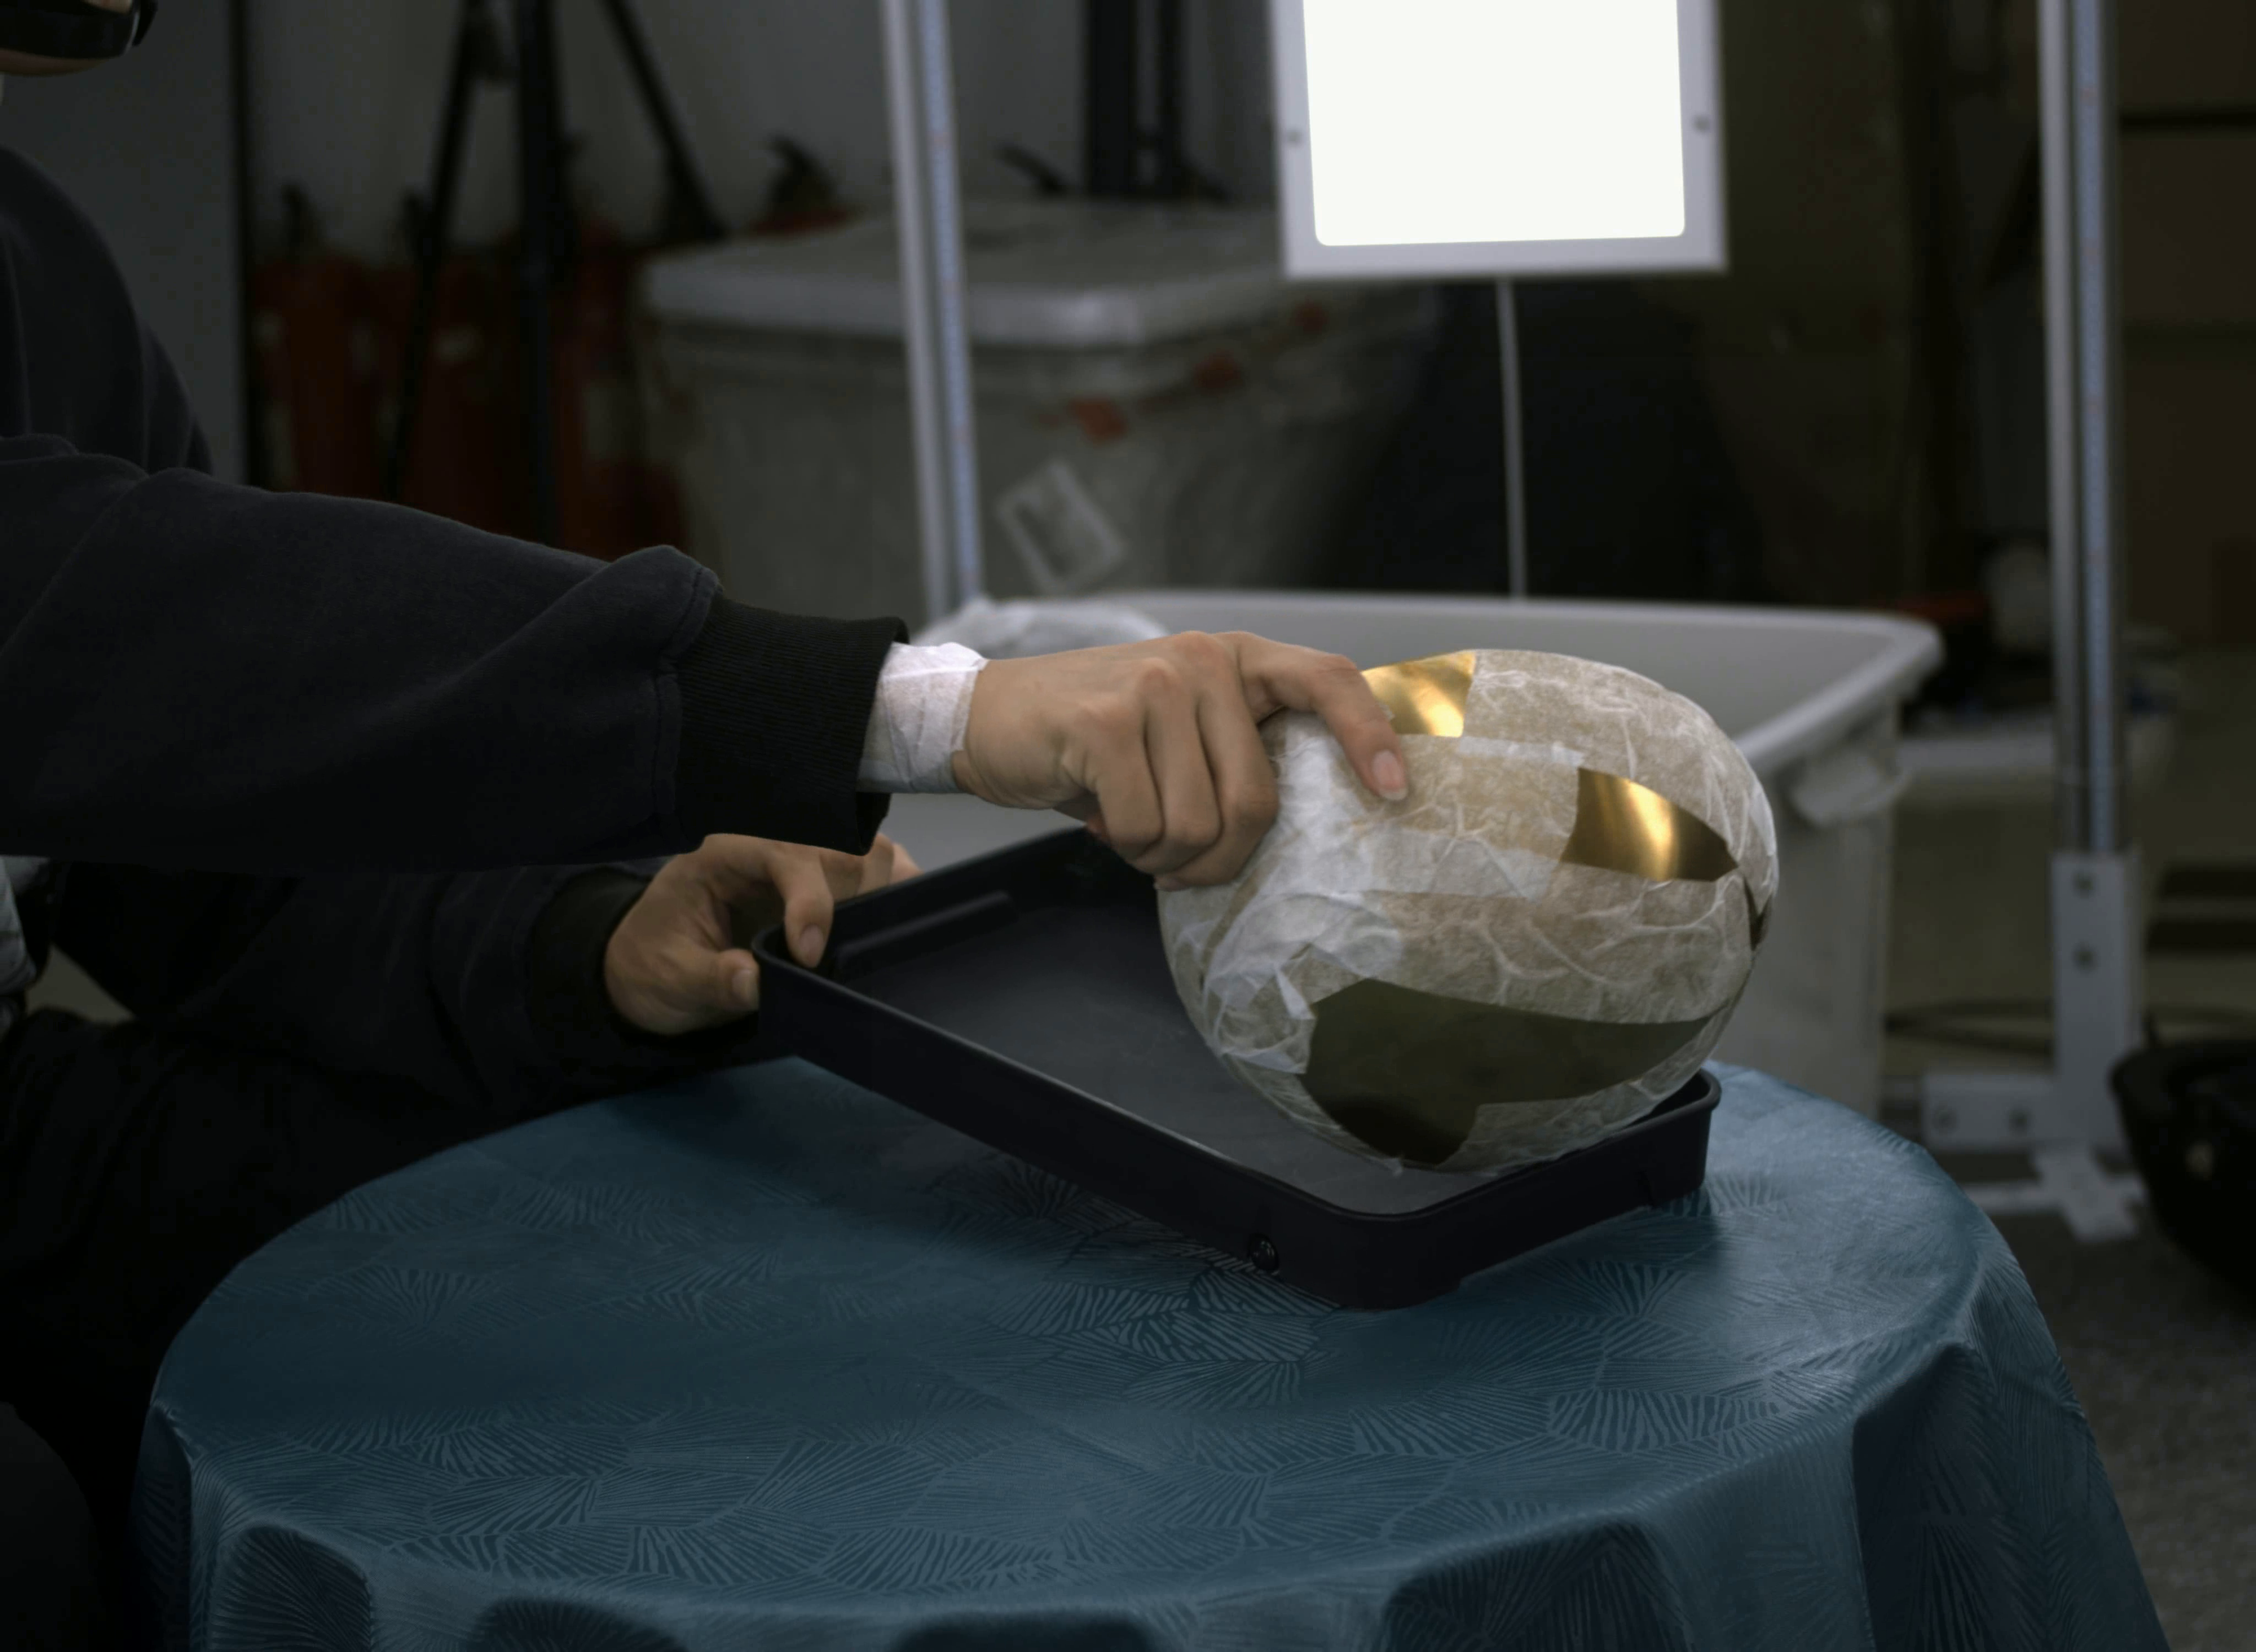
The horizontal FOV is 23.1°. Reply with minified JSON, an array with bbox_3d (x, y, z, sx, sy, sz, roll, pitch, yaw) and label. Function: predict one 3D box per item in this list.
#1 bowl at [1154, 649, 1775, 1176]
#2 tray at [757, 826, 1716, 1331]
[{"bbox_3d":[0.109,0.048,1.752,0.214,0.215,0.094,-3,47,1],"label":"bowl"},{"bbox_3d":[0.033,0.081,1.900,0.179,0.037,0.324,-16,29,-39],"label":"tray"}]
